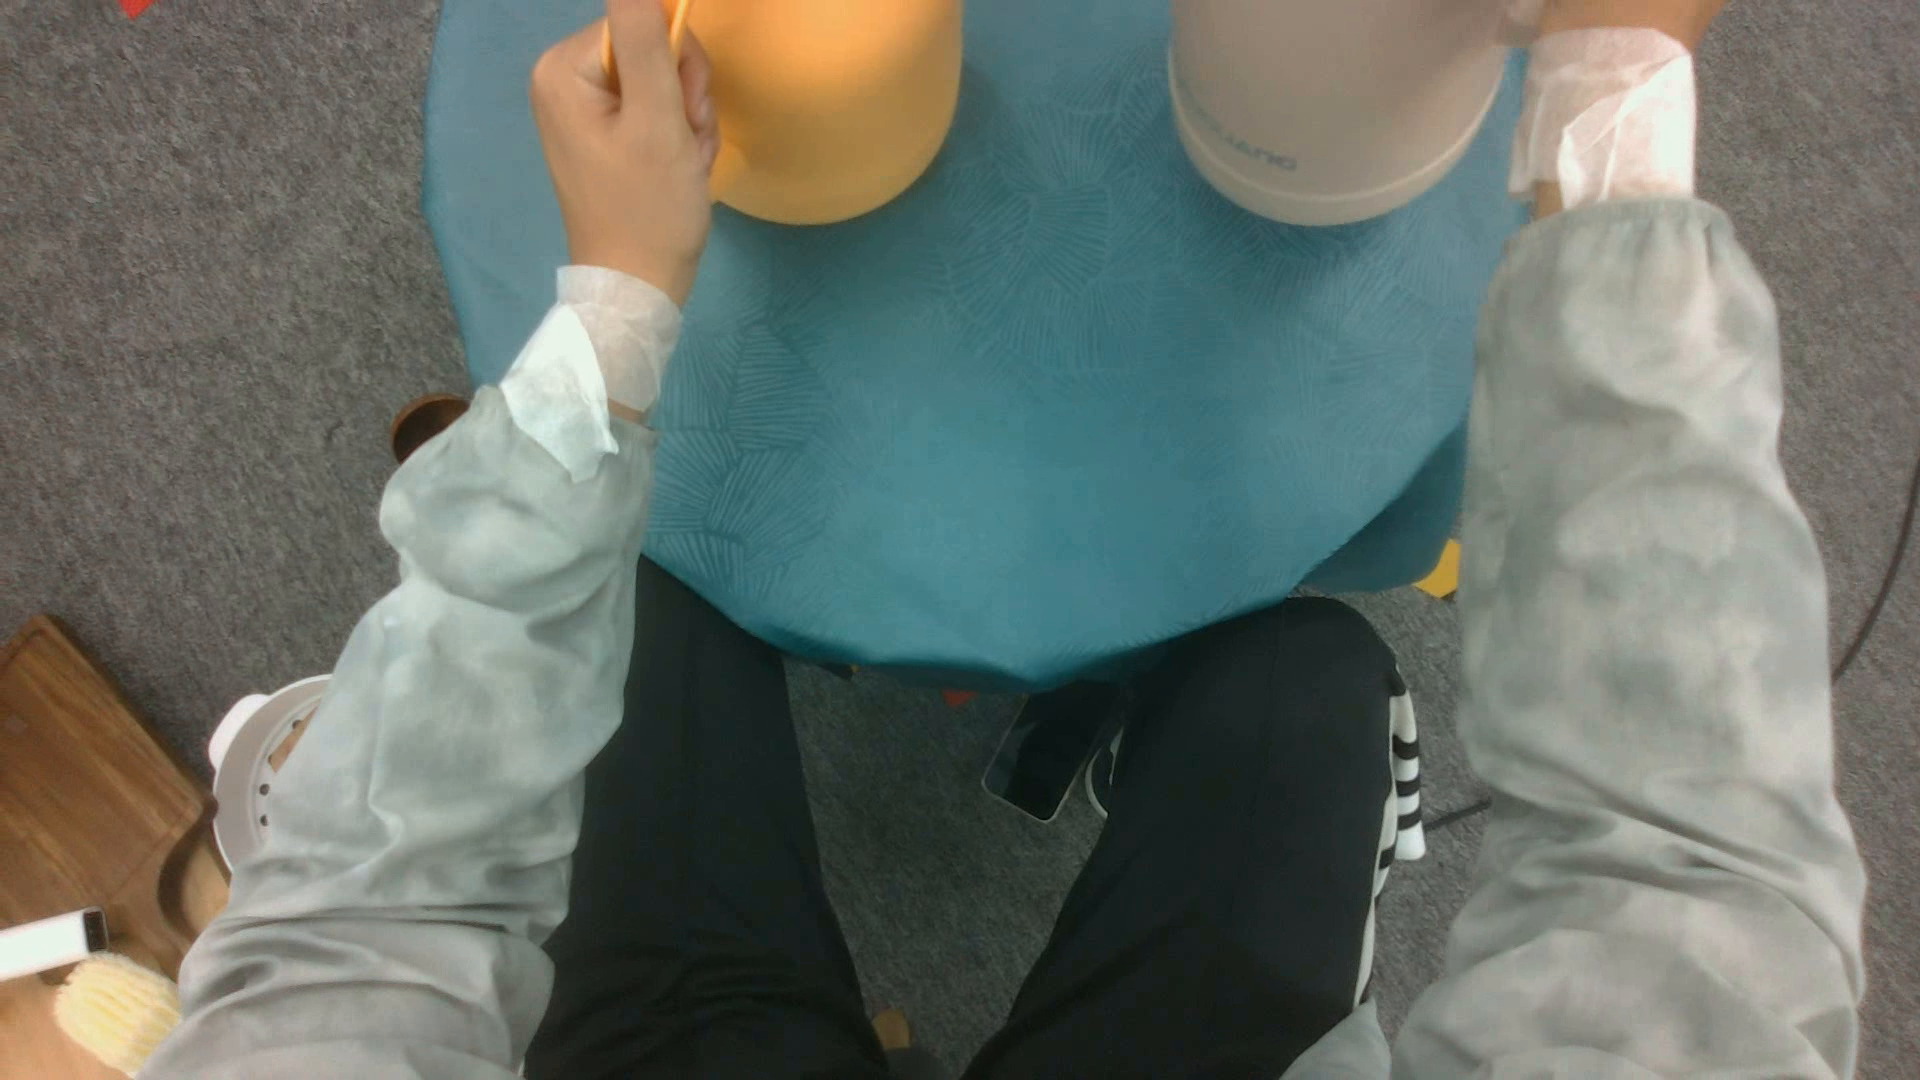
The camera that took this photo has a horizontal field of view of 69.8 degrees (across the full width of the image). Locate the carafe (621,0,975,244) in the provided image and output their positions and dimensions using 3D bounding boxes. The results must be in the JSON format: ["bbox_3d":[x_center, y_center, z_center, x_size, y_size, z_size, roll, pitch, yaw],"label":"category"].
[{"bbox_3d":[-0.083,-0.236,0.629,0.163,0.260,0.203,25,79,5],"label":"carafe"}]

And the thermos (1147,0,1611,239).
[{"bbox_3d":[0.162,-0.256,0.526,0.207,0.406,0.175,35,87,15],"label":"thermos"}]
